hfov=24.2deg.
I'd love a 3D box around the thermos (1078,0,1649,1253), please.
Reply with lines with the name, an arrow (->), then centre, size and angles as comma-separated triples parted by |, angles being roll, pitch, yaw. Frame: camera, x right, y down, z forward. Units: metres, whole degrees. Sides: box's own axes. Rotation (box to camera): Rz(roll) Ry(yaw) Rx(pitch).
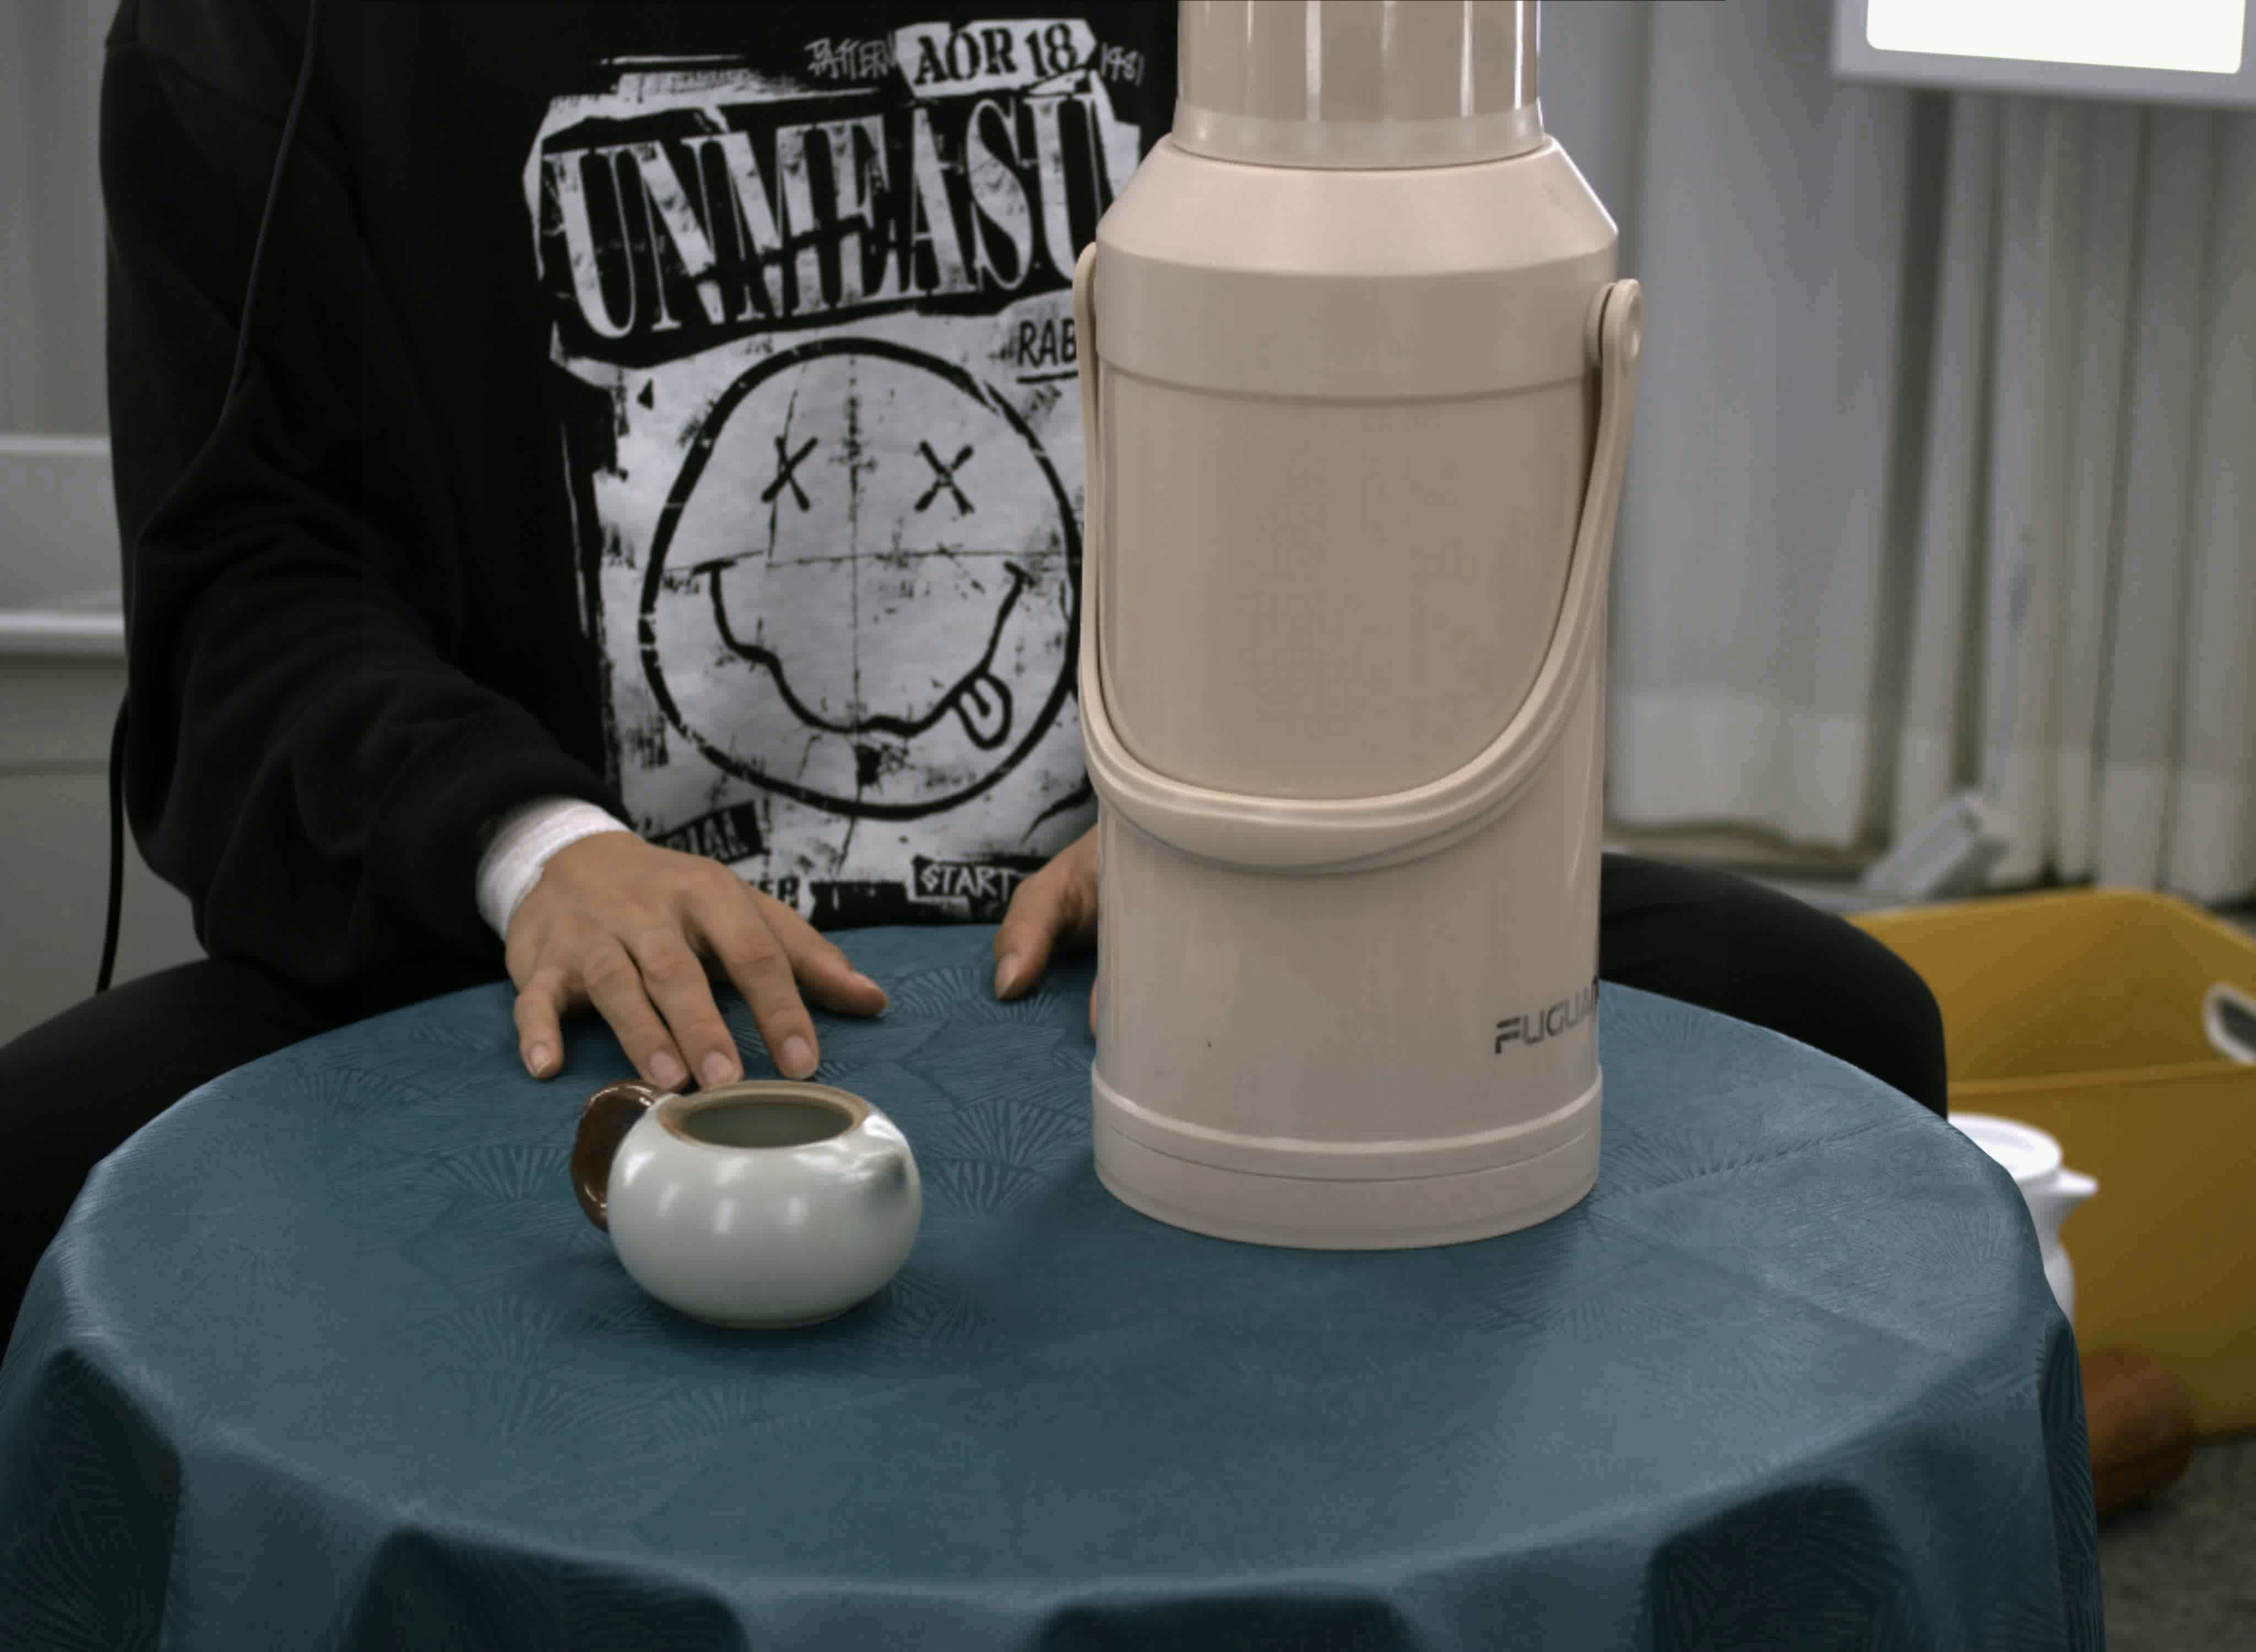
thermos -> 0.076, -0.088, 1.603 | 0.173, 0.410, 0.207 | 5, 17, 21

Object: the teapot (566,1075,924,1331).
teapot -> -0.113, 0.107, 1.527 | 0.126, 0.060, 0.092 | 12, 23, 31
